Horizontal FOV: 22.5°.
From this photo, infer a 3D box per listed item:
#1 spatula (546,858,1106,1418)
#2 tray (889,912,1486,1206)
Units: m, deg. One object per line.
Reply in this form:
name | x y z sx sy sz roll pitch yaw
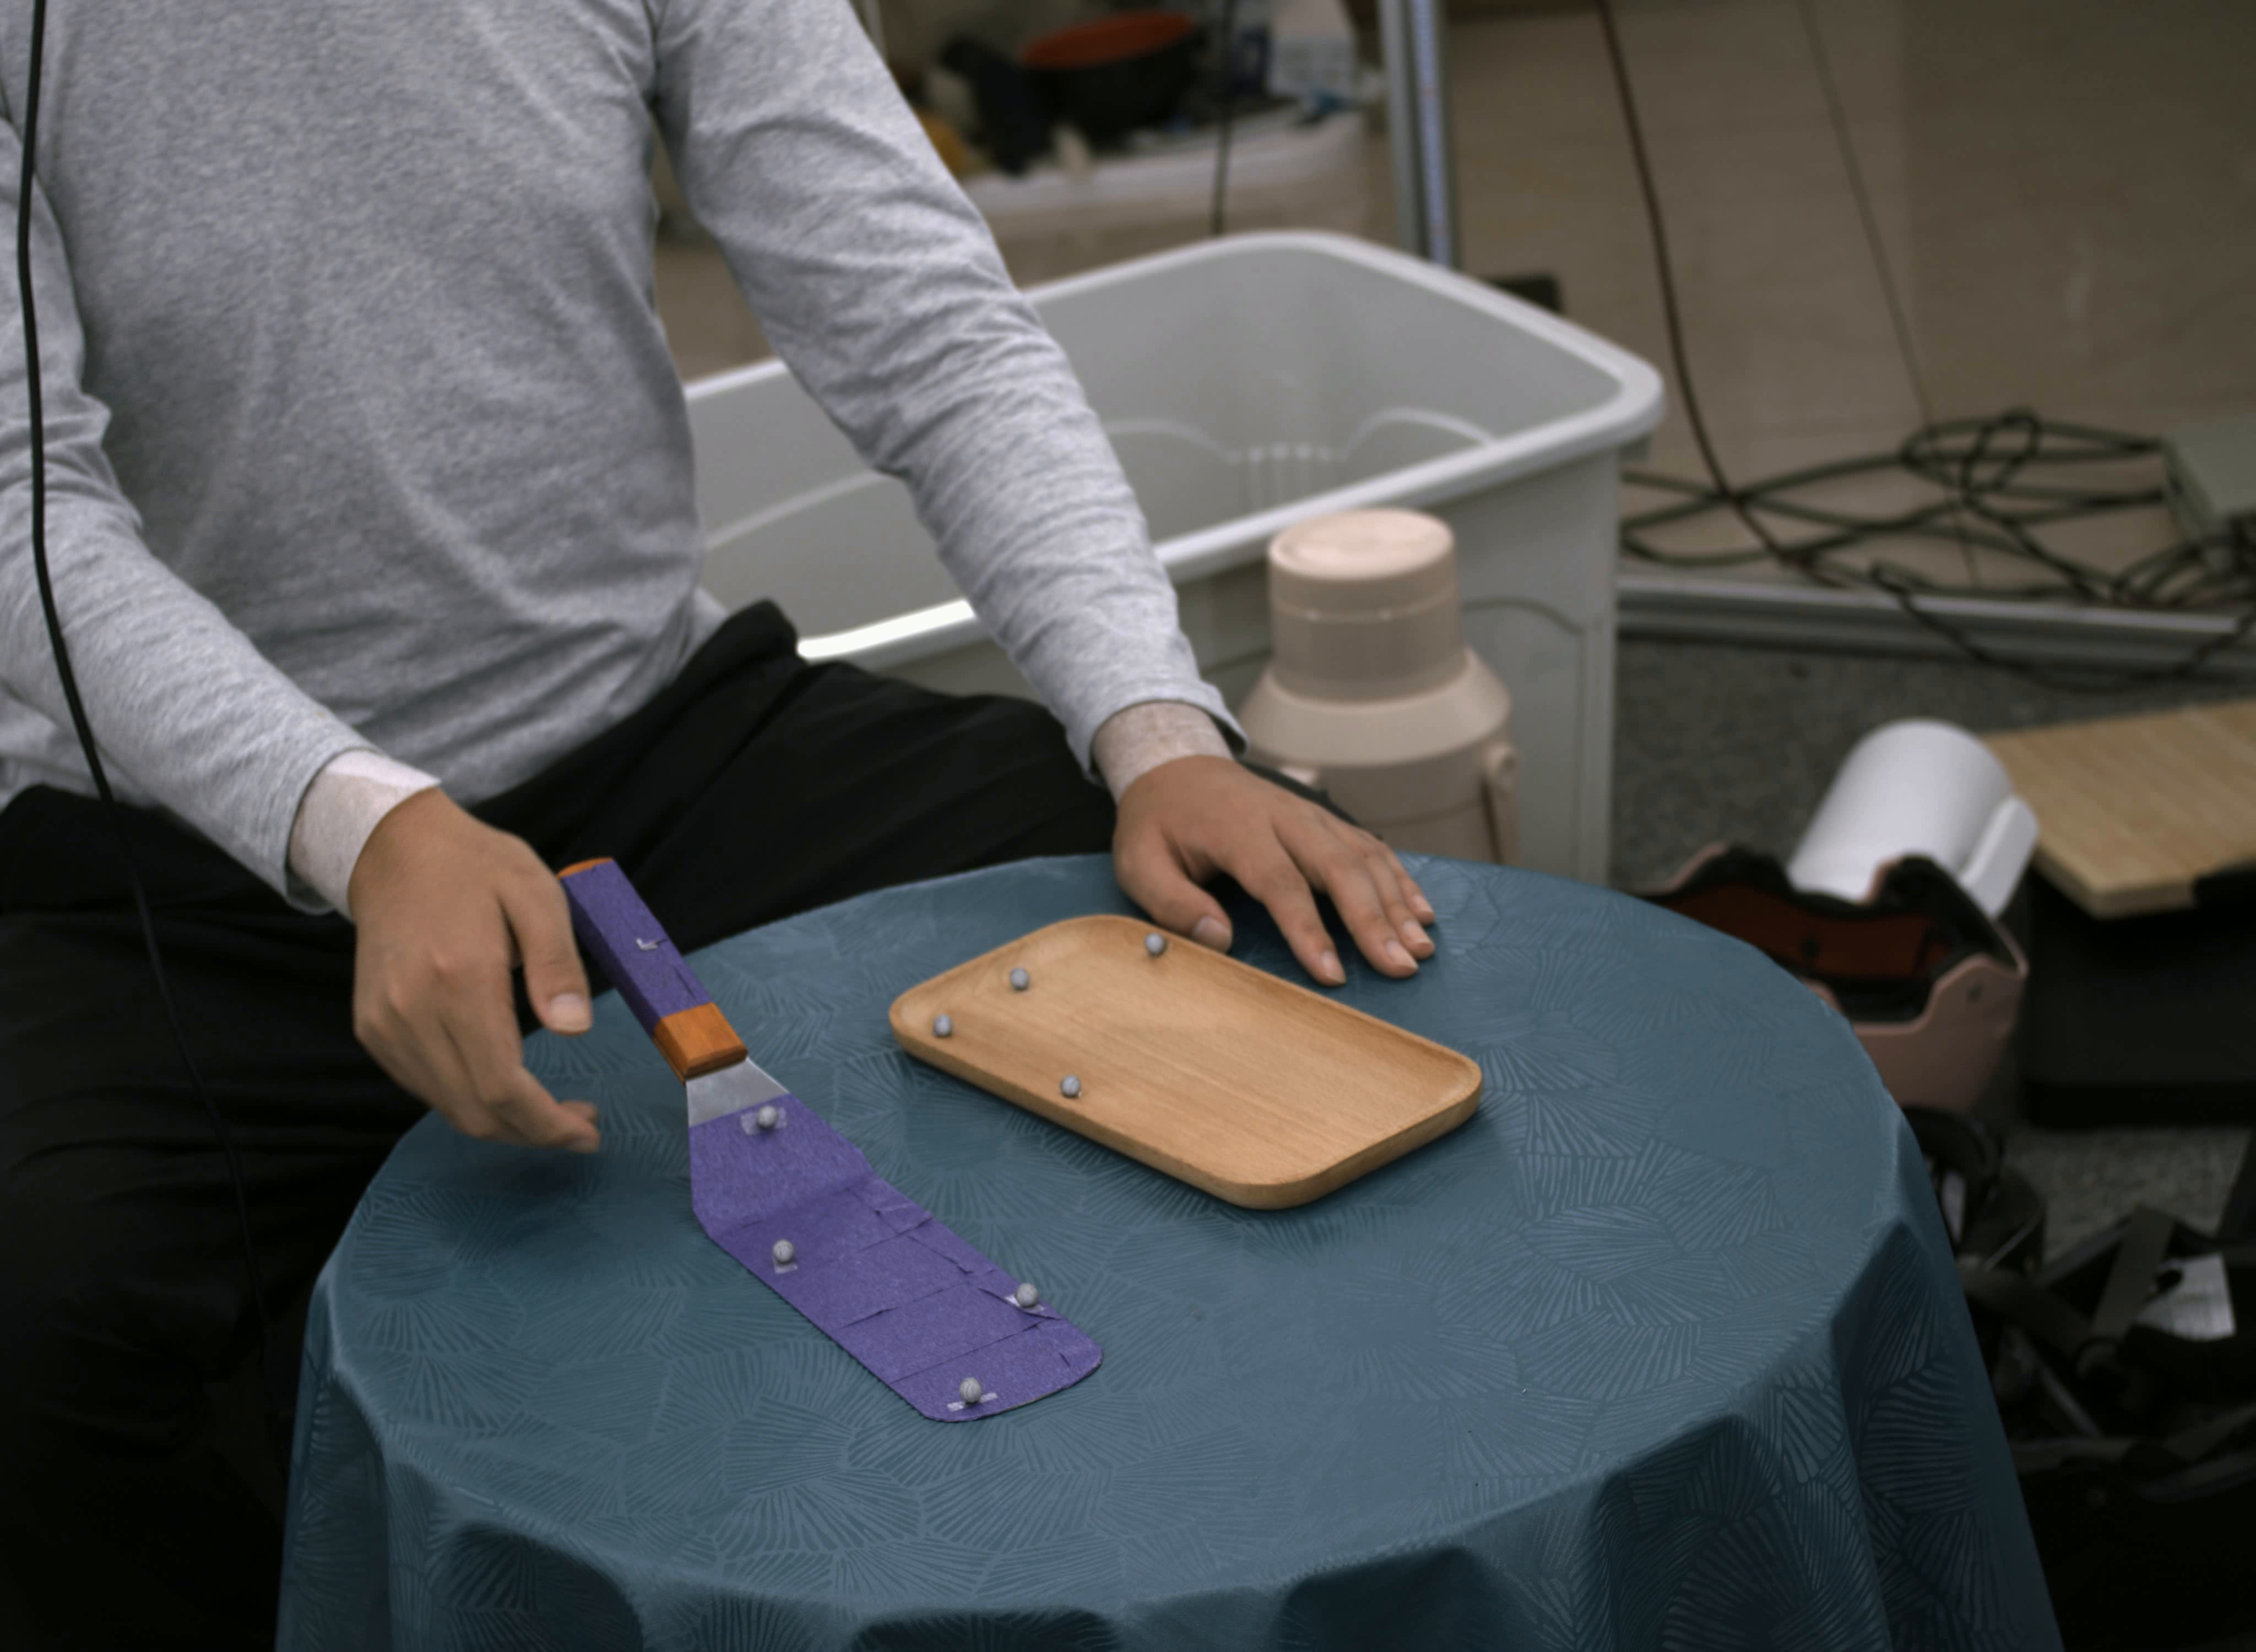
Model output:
spatula | -0.126 0.112 2.142 0.075 0.088 0.354 -18 53 -26
tray | 0.021 0.090 2.229 0.129 0.023 0.248 -27 32 -31
